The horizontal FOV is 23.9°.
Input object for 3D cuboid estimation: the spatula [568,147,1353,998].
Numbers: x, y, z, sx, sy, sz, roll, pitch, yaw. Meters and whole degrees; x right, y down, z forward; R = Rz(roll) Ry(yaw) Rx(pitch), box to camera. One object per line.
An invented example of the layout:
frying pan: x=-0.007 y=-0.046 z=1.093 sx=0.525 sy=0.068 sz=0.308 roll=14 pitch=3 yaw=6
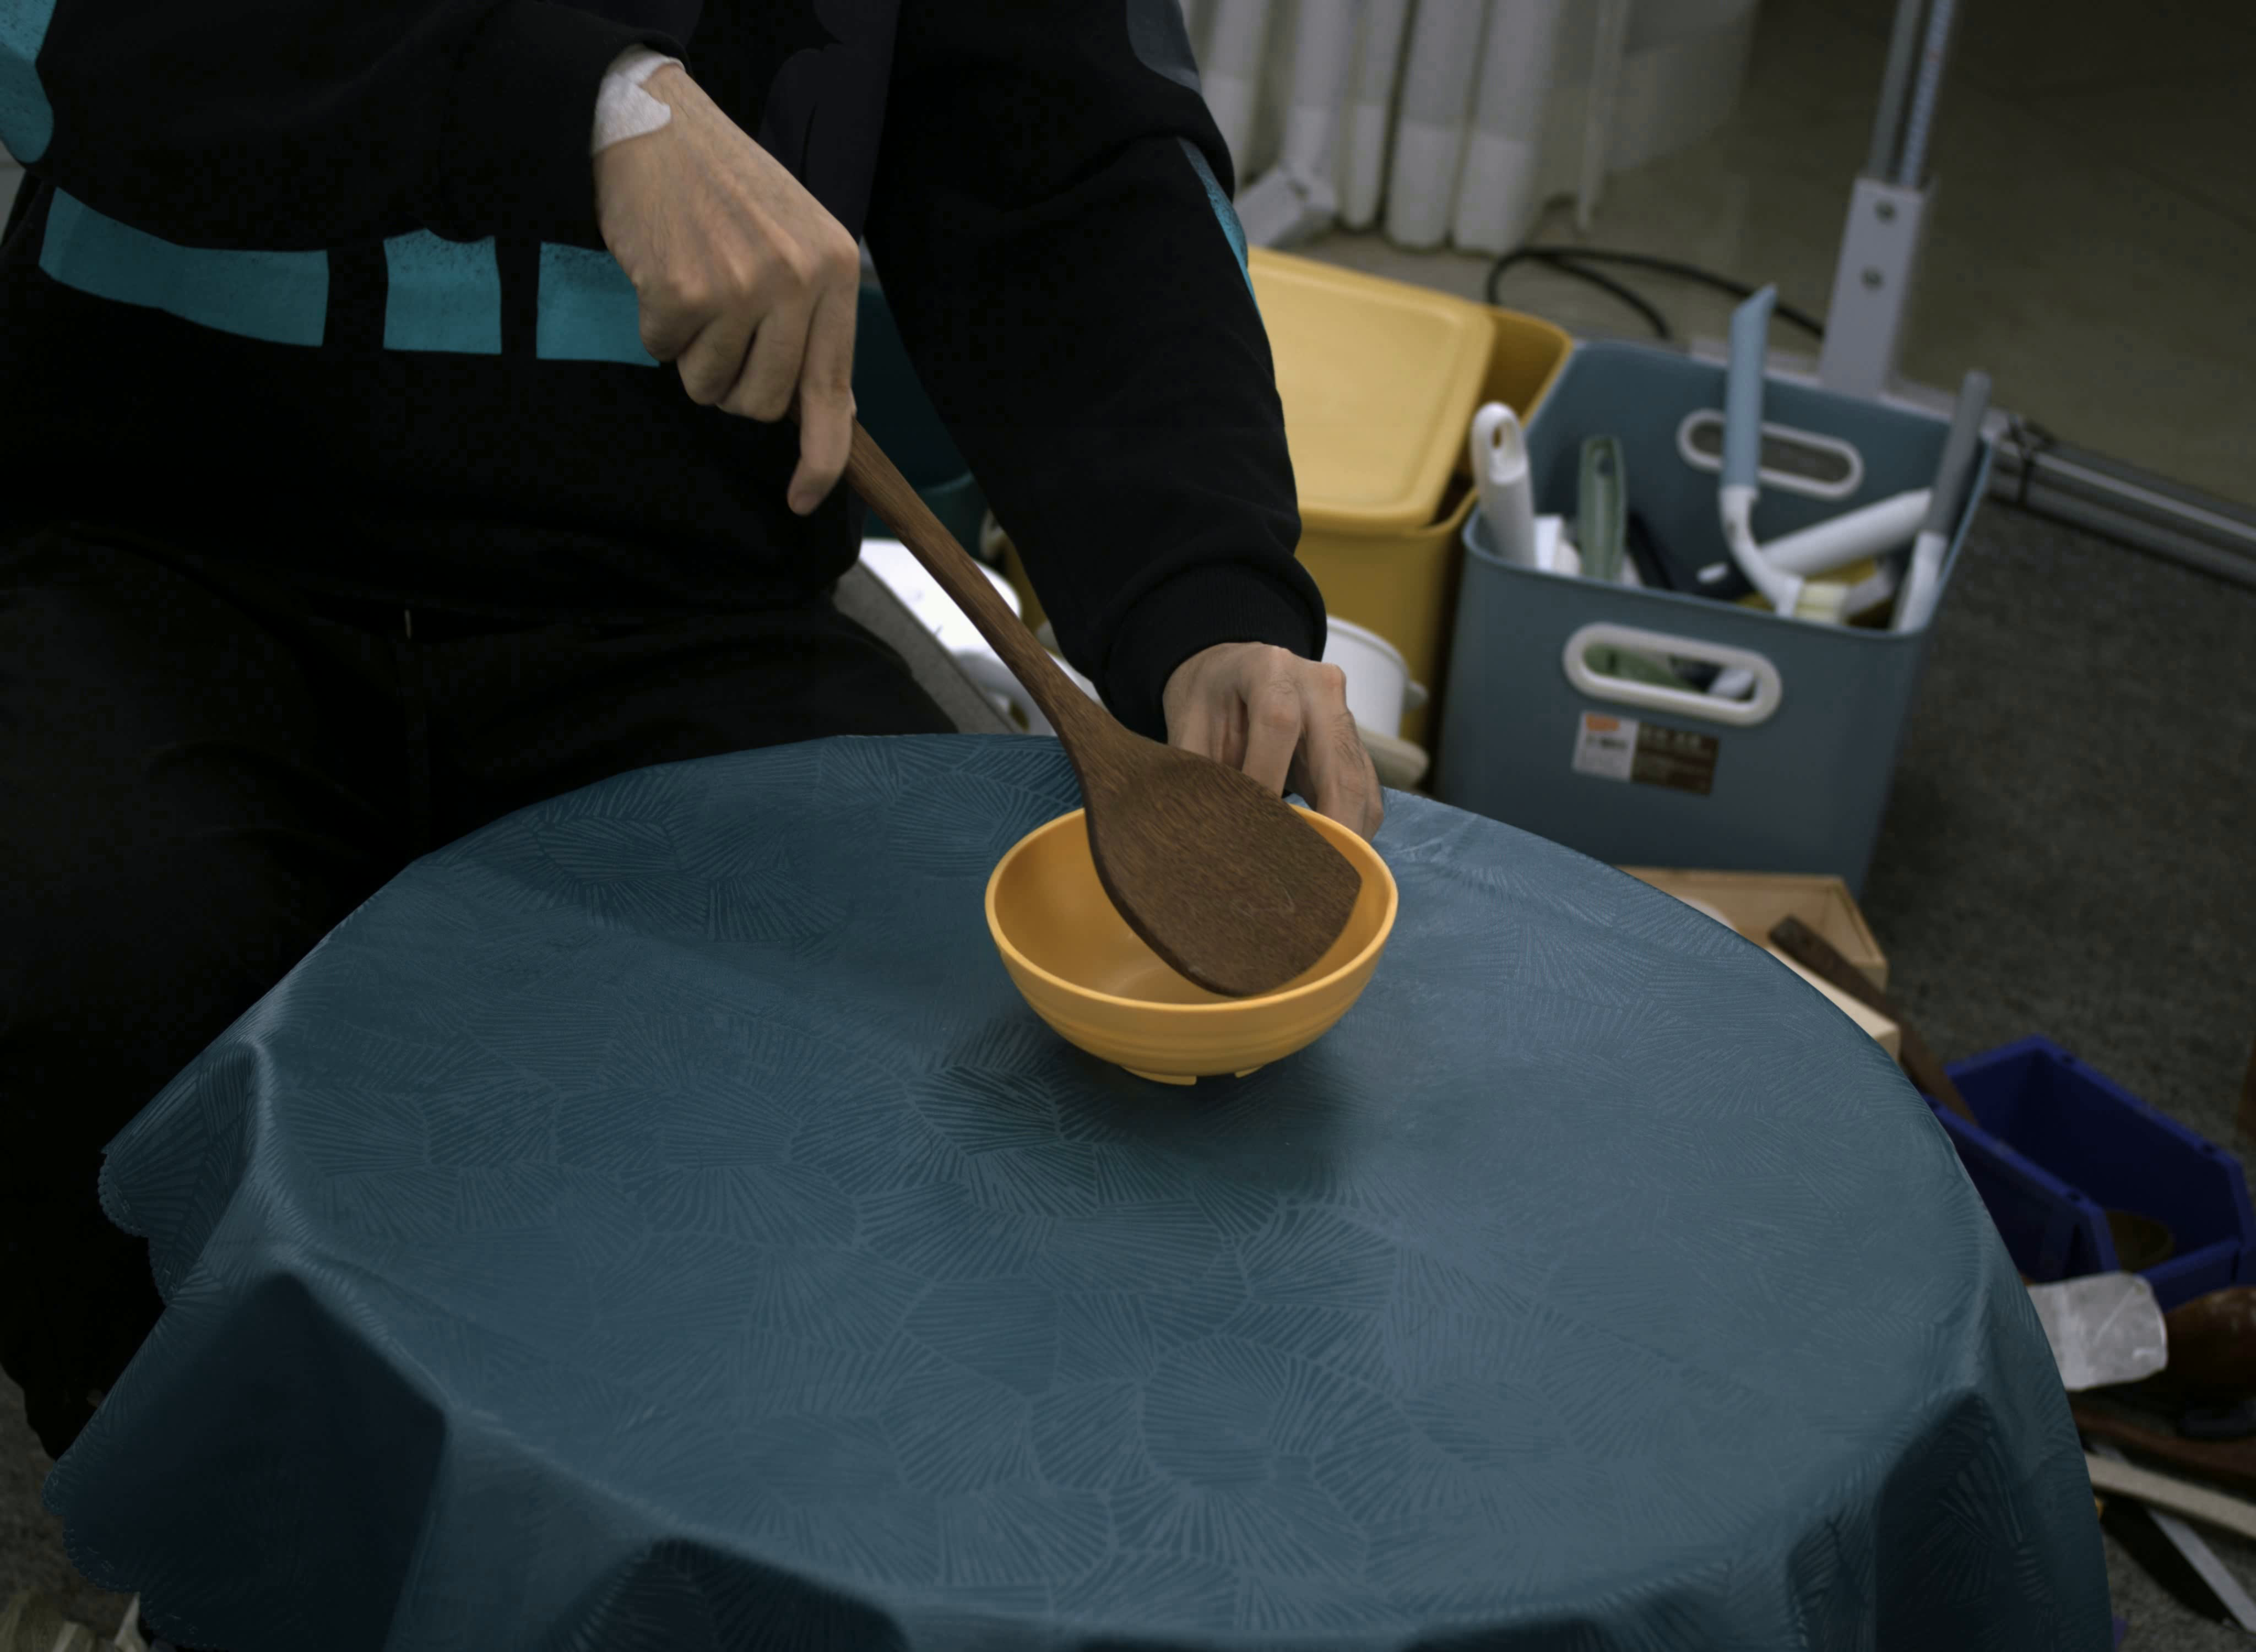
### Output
spatula: x=-0.066 y=-0.095 z=1.859 sx=0.386 sy=0.016 sz=0.096 roll=49 pitch=46 yaw=5

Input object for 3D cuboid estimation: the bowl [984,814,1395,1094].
bowl: x=0.021 y=0.052 z=1.876 sx=0.145 sy=0.060 sz=0.146 roll=1 pitch=29 yaw=-1
